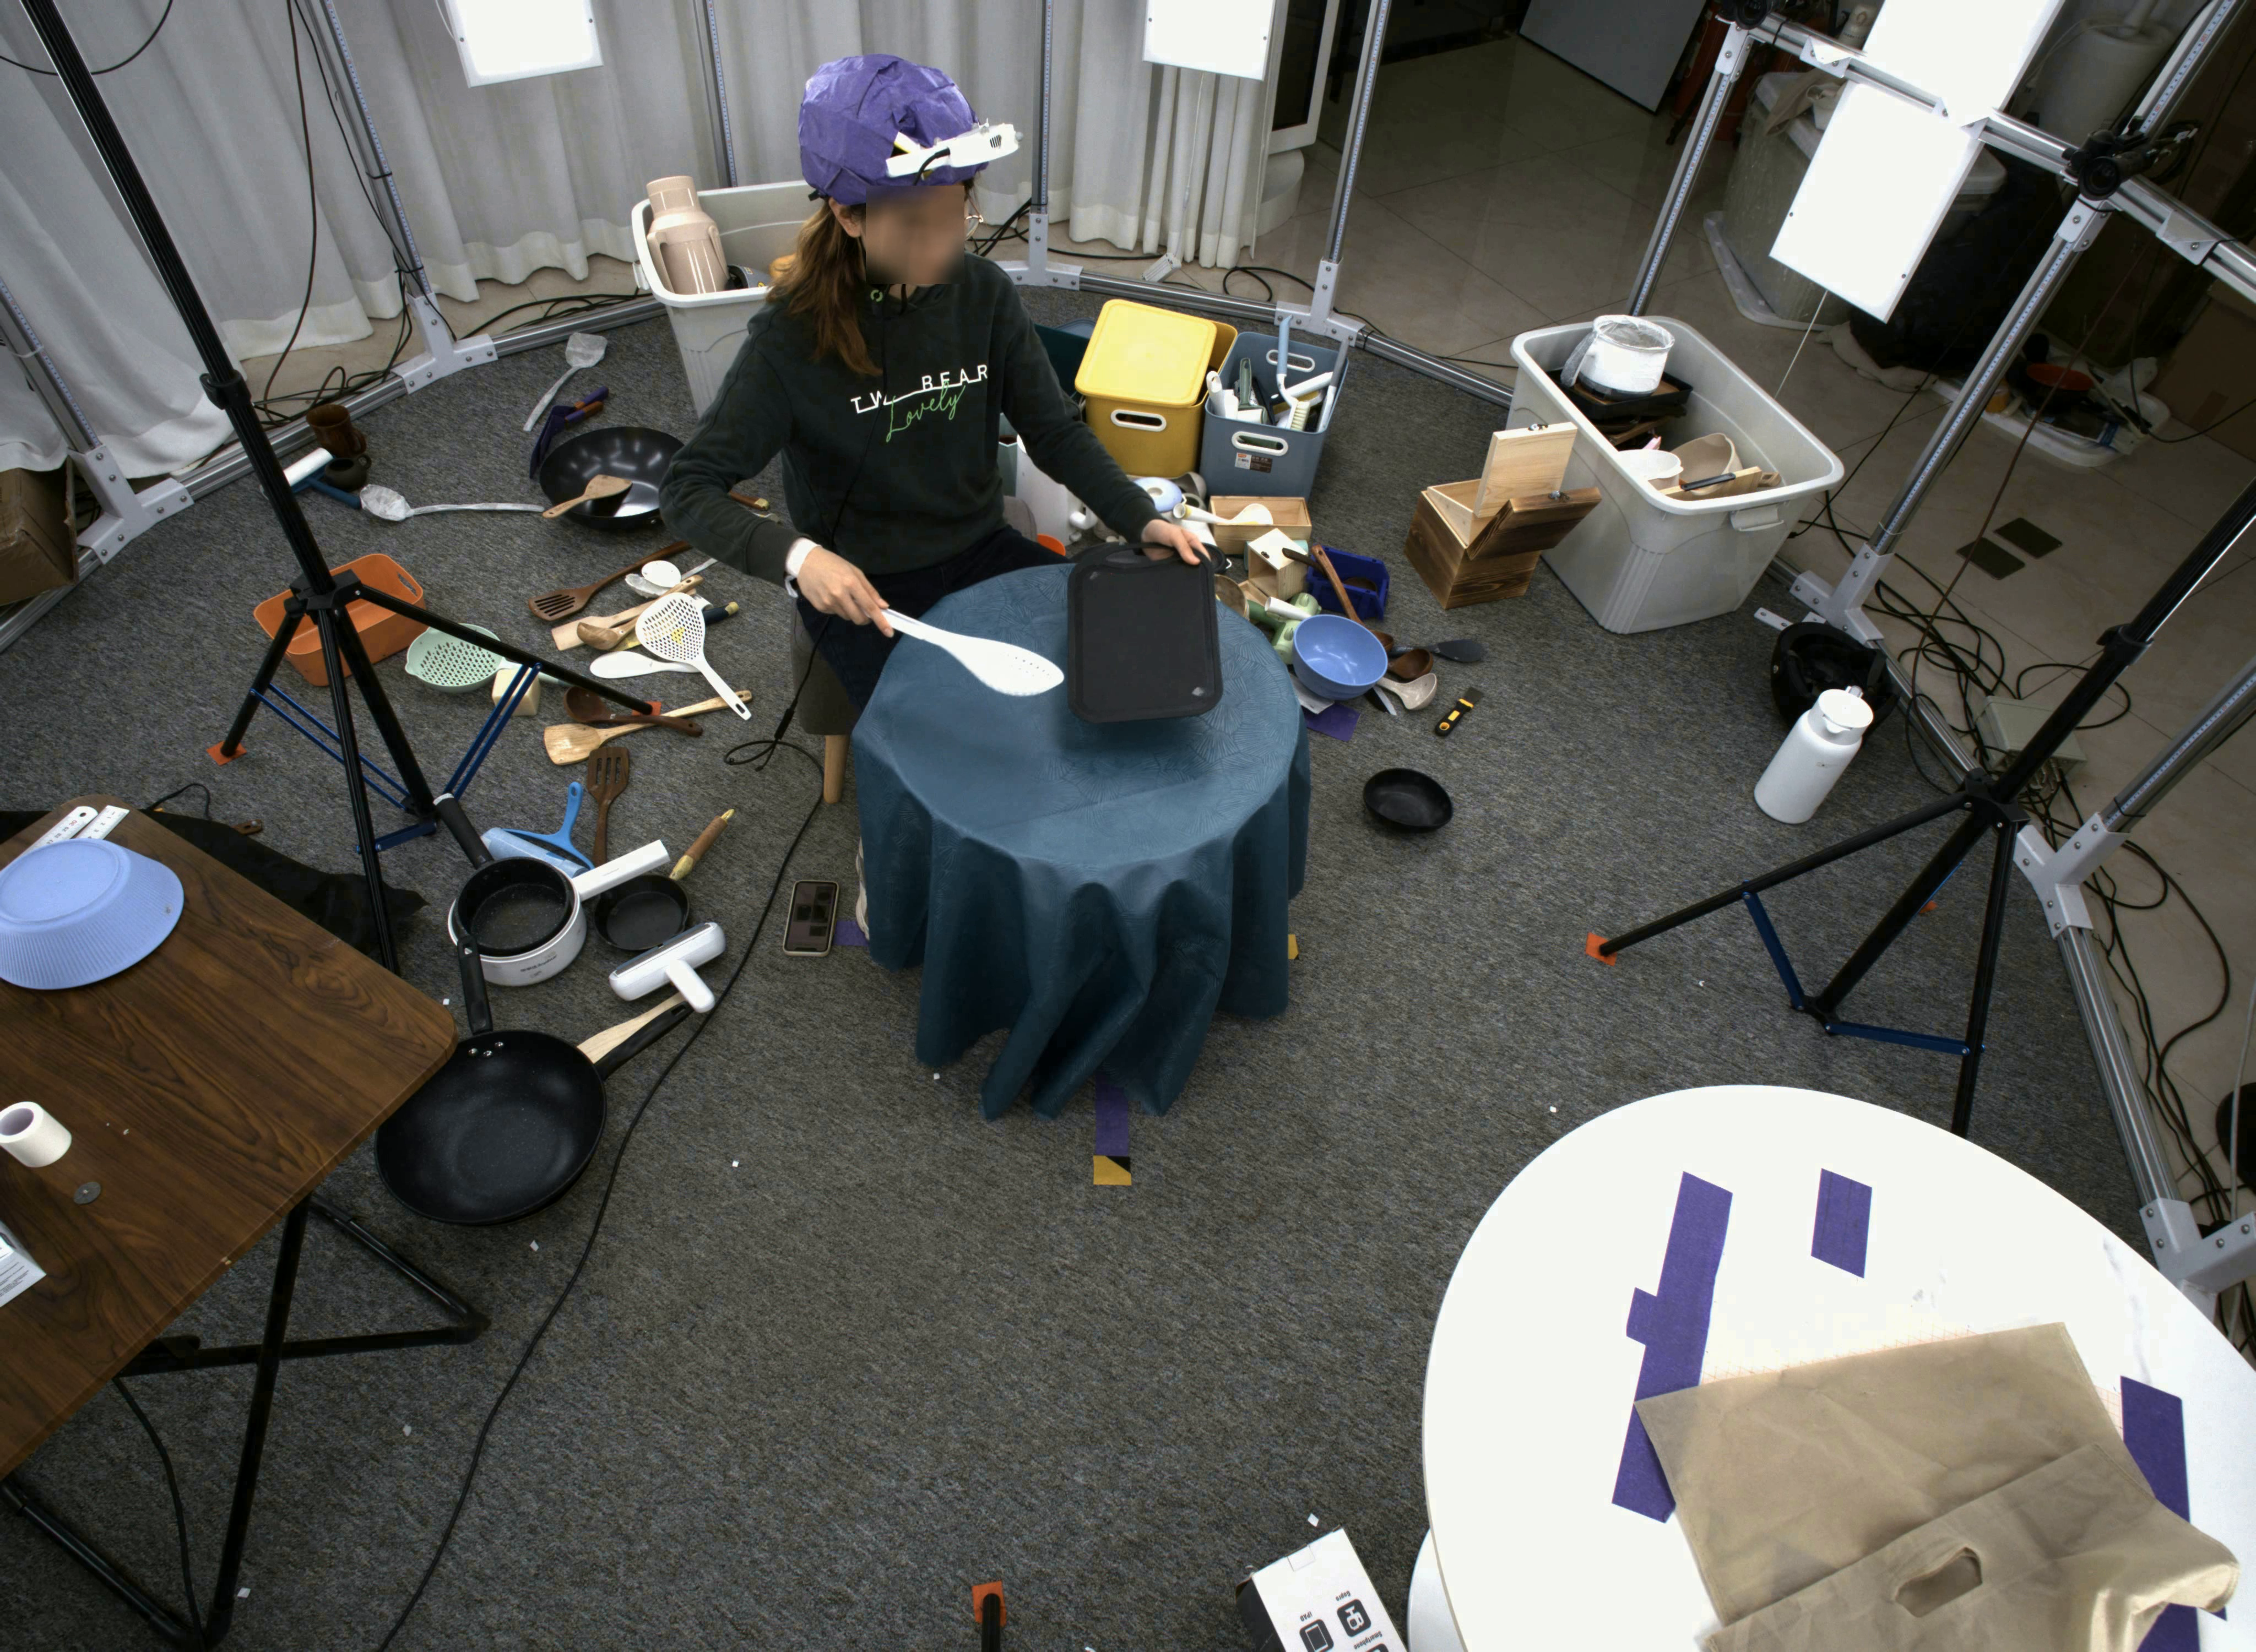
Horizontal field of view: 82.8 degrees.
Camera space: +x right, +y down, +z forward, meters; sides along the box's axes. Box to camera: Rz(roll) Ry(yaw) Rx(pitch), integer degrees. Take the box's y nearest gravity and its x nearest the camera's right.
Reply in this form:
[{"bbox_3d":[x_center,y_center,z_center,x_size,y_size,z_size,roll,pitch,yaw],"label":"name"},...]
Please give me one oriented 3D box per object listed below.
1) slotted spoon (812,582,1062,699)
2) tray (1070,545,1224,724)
[{"bbox_3d":[-0.250,-0.243,1.672,0.351,0.045,0.137,28,22,7],"label":"slotted spoon"},{"bbox_3d":[0.023,-0.278,1.803,0.211,0.009,0.333,-4,55,4],"label":"tray"}]
